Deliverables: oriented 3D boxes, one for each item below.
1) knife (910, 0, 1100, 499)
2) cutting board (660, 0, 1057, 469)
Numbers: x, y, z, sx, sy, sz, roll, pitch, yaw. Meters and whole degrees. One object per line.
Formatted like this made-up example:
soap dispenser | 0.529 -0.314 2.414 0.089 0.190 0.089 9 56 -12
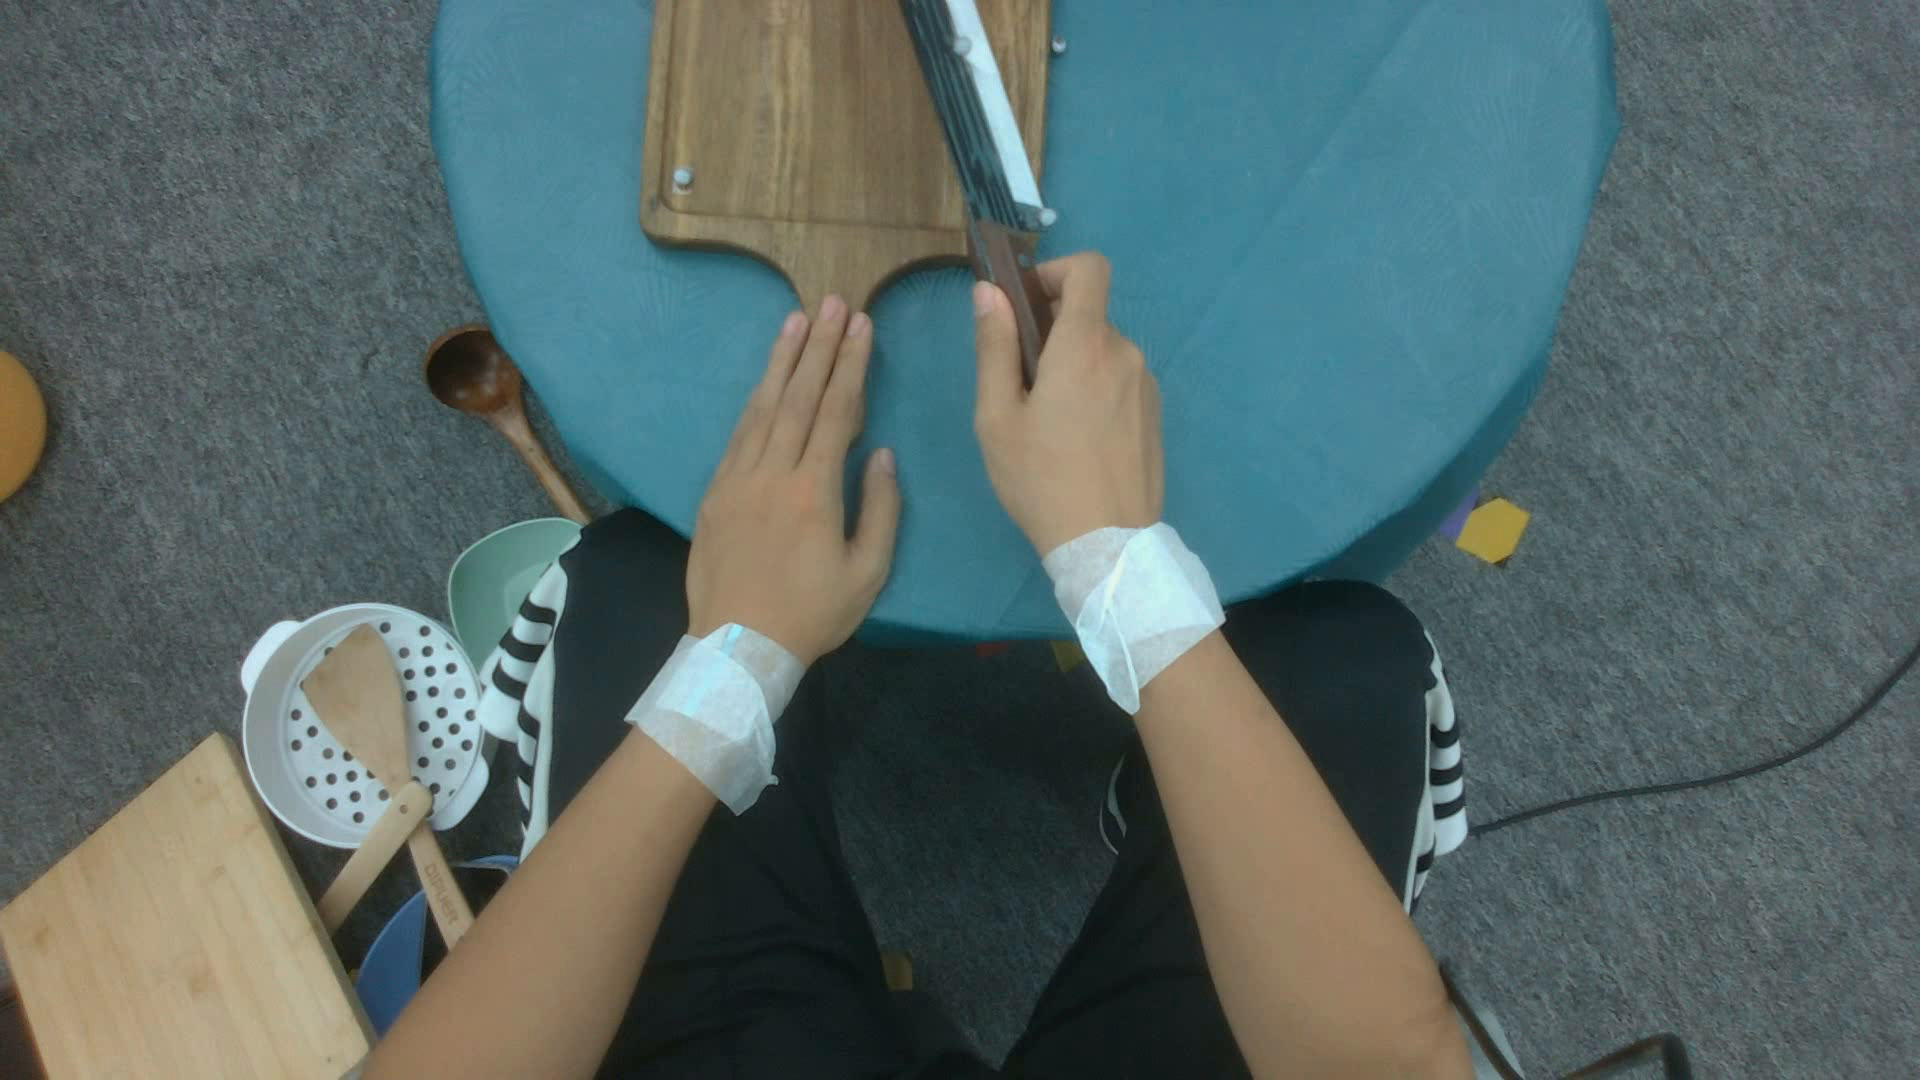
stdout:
knife | 0.022 -0.165 0.650 0.024 0.068 0.299 -19 85 36
cutting board | -0.052 -0.211 0.710 0.201 0.023 0.352 3 84 -1
